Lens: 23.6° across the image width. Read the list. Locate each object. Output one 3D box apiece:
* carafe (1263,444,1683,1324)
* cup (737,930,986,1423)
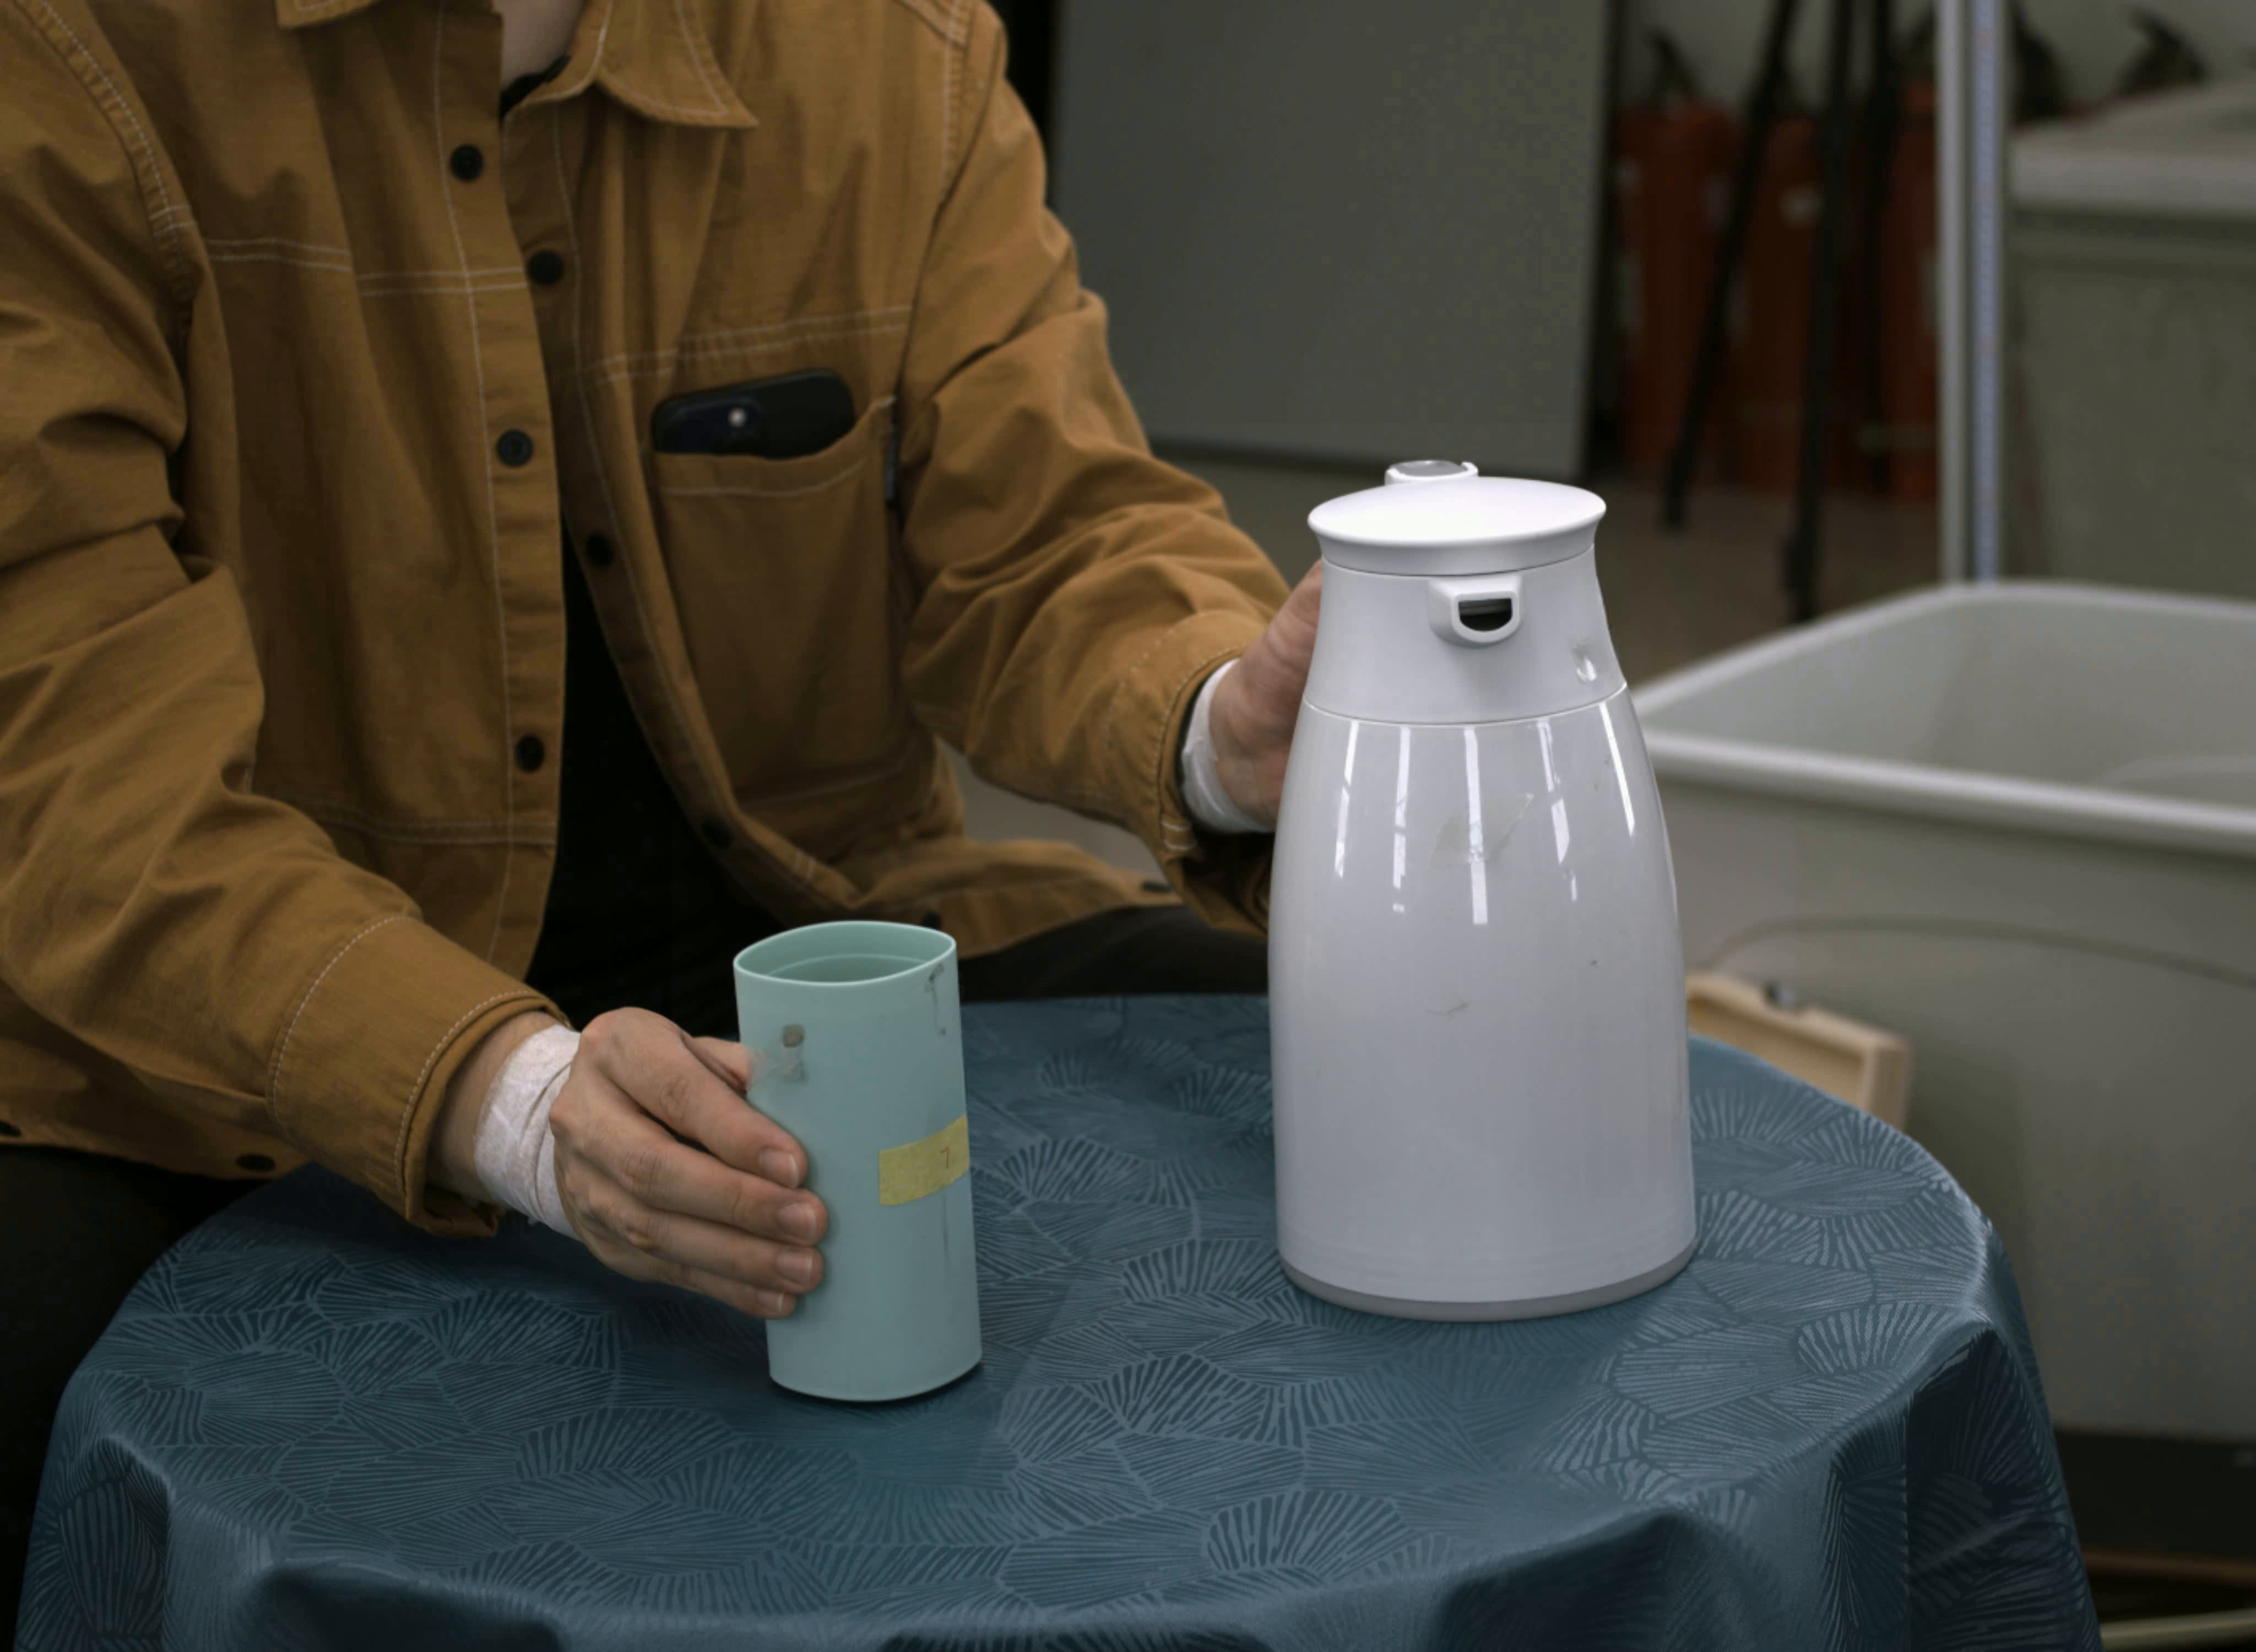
[{"bbox_3d":[0.102,0.010,1.679,0.130,0.251,0.168,-3,12,-2],"label":"carafe"},{"bbox_3d":[-0.079,0.103,1.603,0.066,0.134,0.067,-4,14,0],"label":"cup"}]
